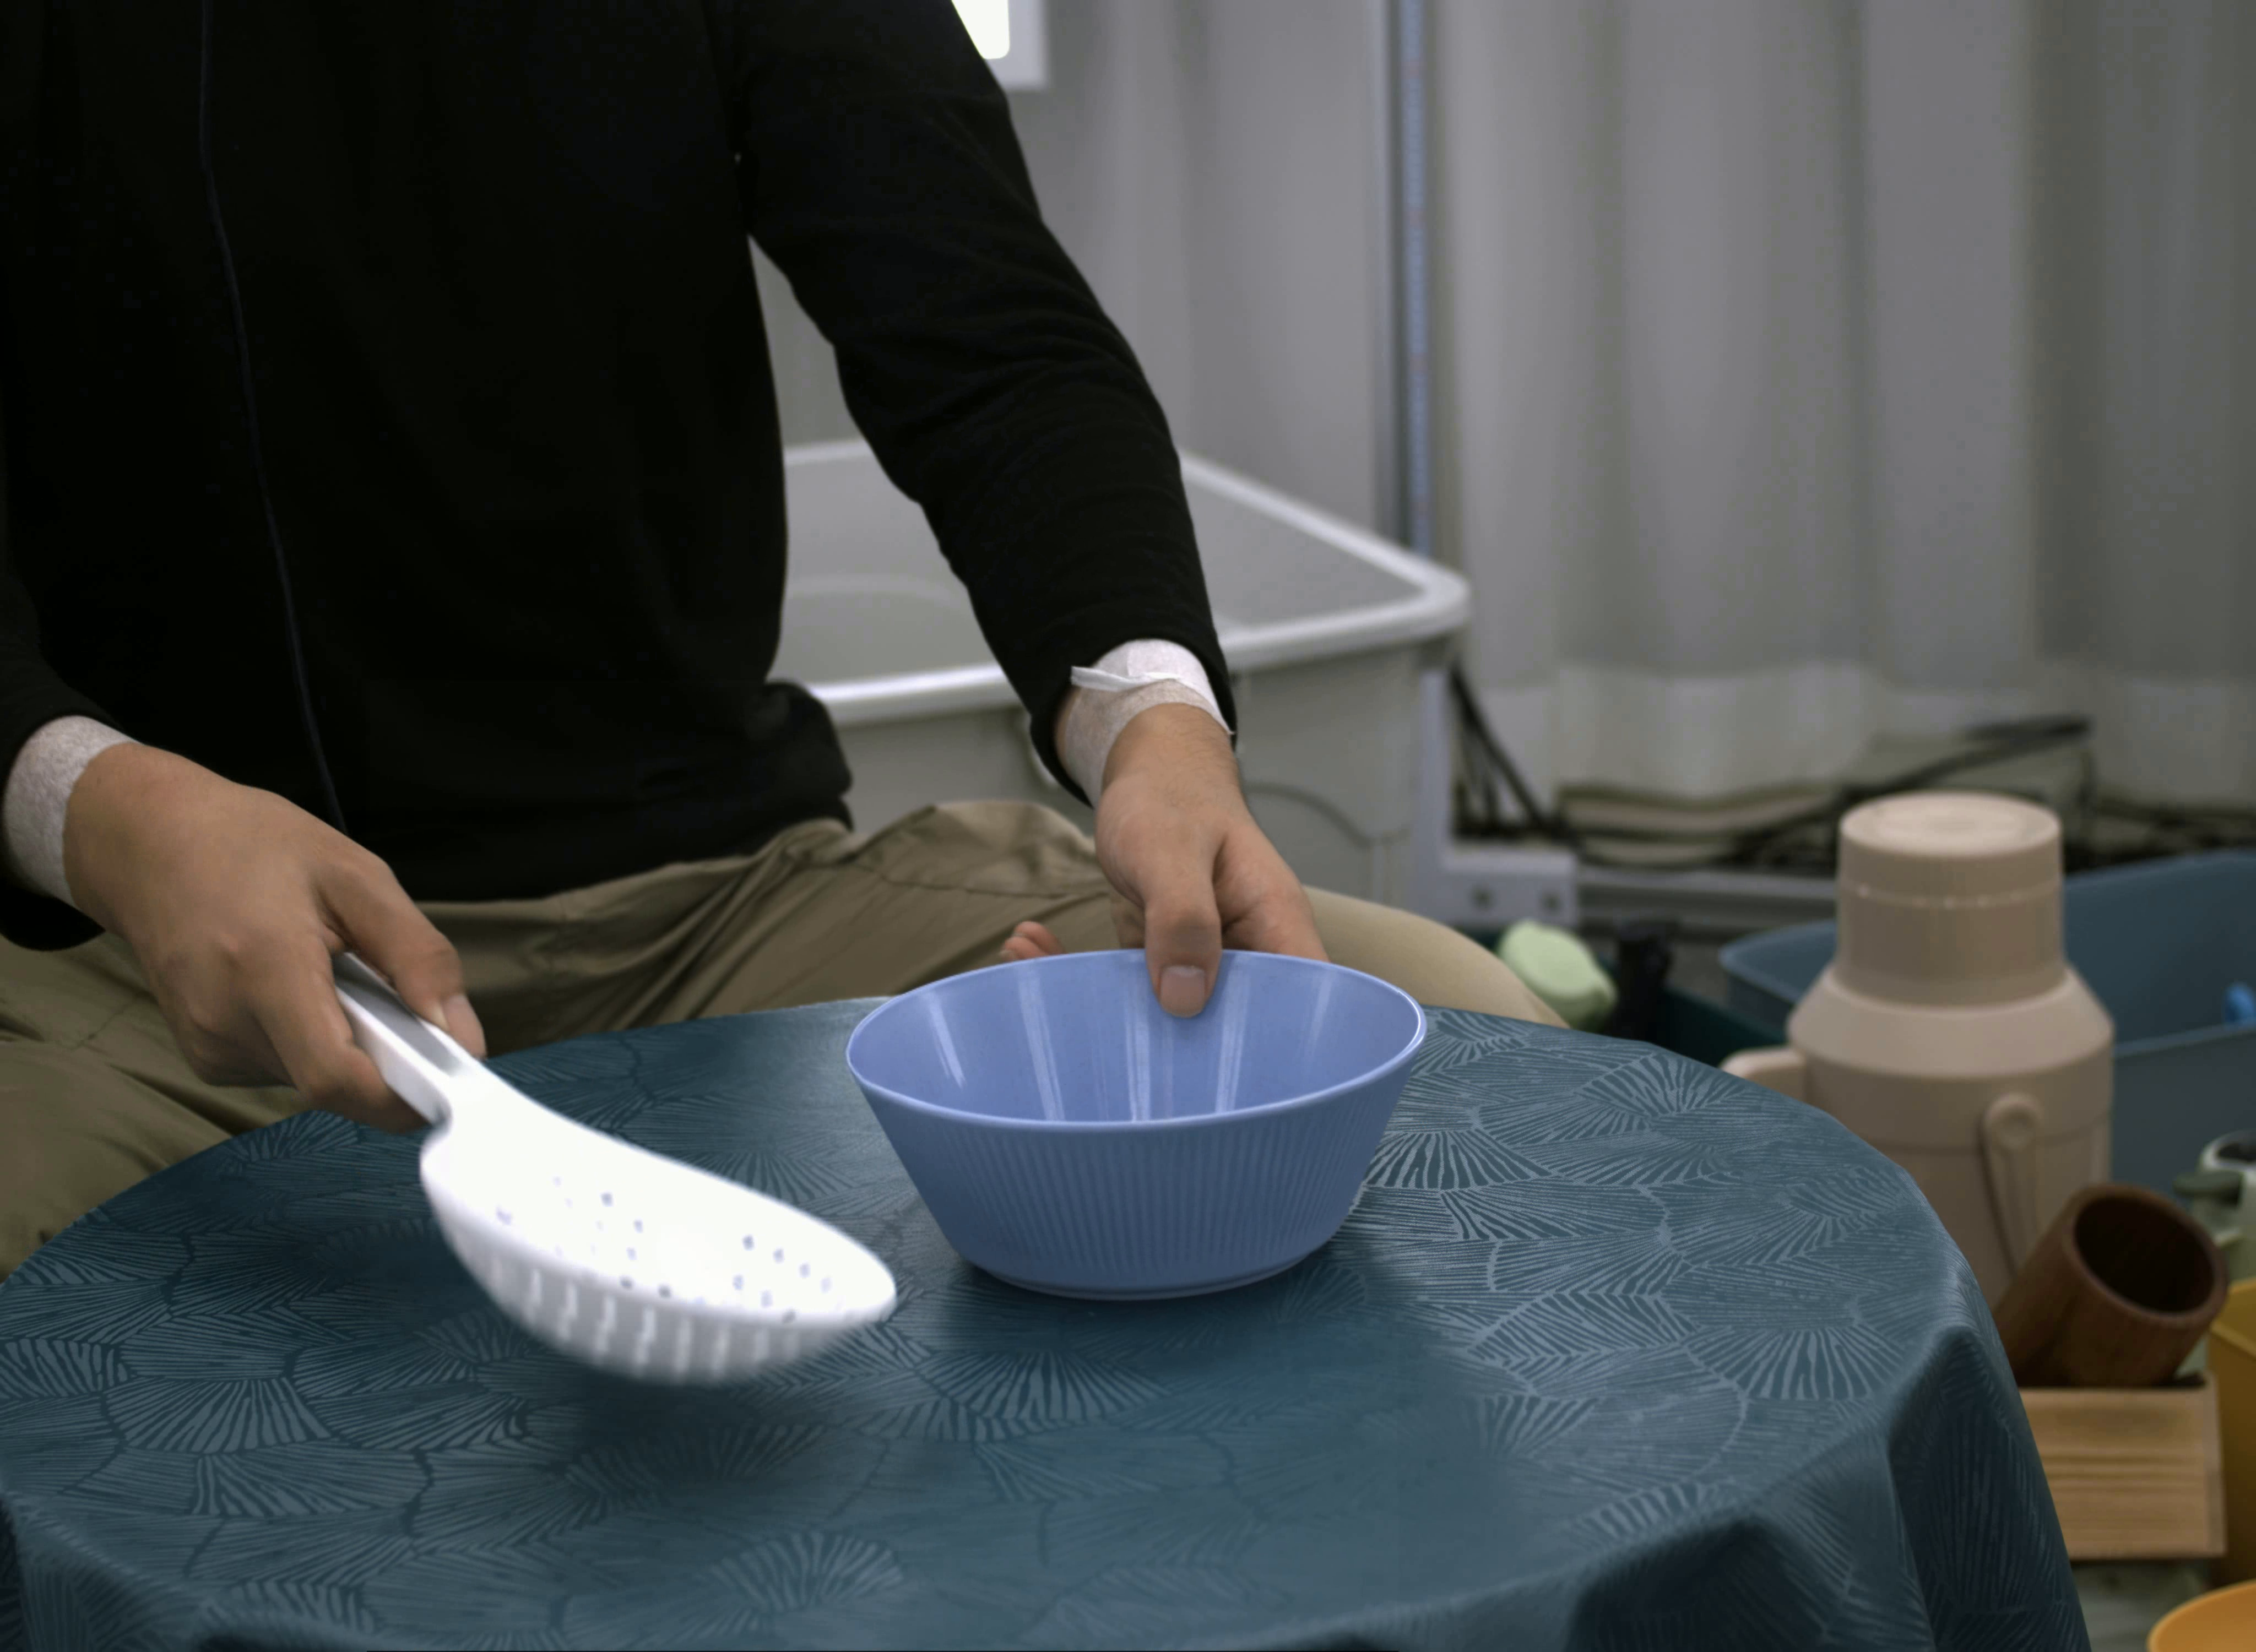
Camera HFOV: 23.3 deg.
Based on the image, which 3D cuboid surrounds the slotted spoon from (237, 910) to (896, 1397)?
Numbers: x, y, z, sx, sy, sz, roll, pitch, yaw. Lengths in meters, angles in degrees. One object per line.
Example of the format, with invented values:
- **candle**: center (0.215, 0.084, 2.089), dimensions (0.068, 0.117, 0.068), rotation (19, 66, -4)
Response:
- **slotted spoon**: center (-0.186, 0.088, 1.597), dimensions (0.135, 0.045, 0.354), rotation (8, 18, -33)

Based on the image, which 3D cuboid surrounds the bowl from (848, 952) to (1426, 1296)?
- **bowl**: center (0.004, 0.093, 1.659), dimensions (0.175, 0.070, 0.177), rotation (-2, 14, 0)
